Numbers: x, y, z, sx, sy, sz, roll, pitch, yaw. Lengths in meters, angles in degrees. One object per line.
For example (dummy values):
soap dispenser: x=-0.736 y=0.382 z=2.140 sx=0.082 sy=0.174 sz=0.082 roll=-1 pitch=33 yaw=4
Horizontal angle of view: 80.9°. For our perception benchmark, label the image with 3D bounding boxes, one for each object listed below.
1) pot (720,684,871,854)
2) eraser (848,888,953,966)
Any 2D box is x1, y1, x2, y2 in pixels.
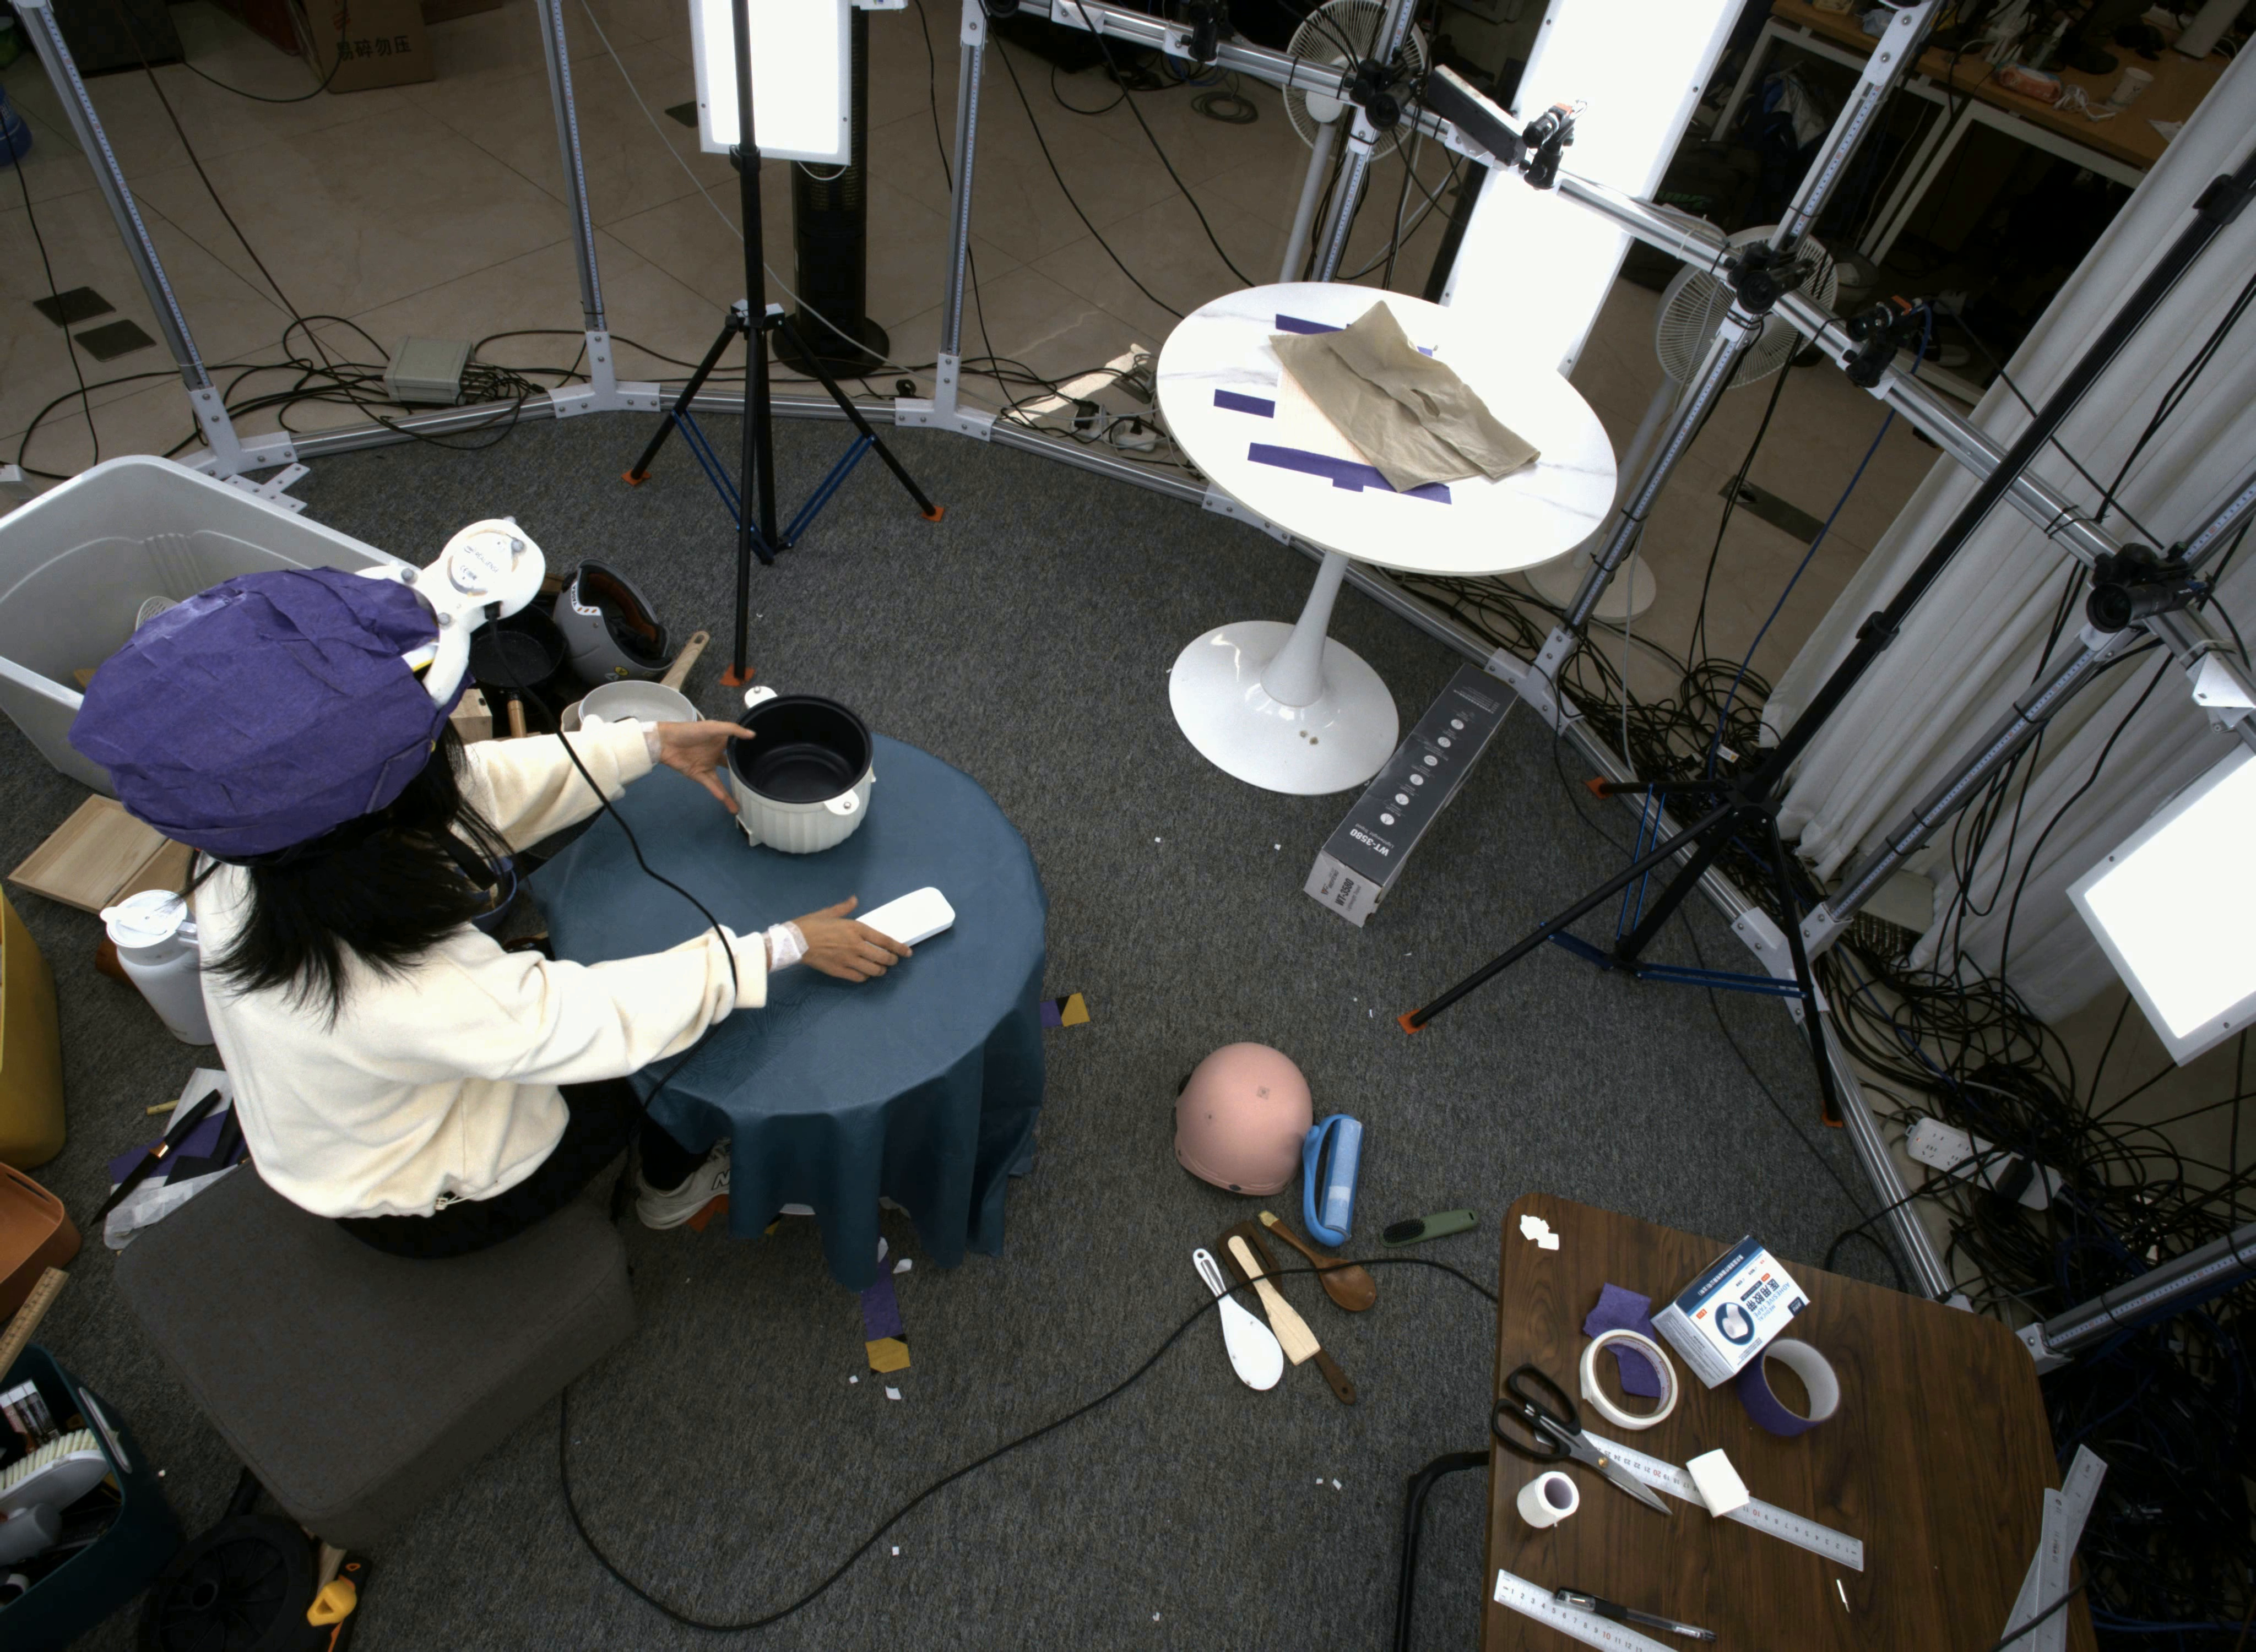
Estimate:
pot: x=-0.422 y=-0.066 z=1.678 sx=0.191 sy=0.145 sz=0.235 roll=-32 pitch=67 yaw=-28
eraser: x=-0.287 y=0.123 z=1.643 sx=0.132 sy=0.035 sz=0.062 roll=-26 pitch=61 yaw=-30
